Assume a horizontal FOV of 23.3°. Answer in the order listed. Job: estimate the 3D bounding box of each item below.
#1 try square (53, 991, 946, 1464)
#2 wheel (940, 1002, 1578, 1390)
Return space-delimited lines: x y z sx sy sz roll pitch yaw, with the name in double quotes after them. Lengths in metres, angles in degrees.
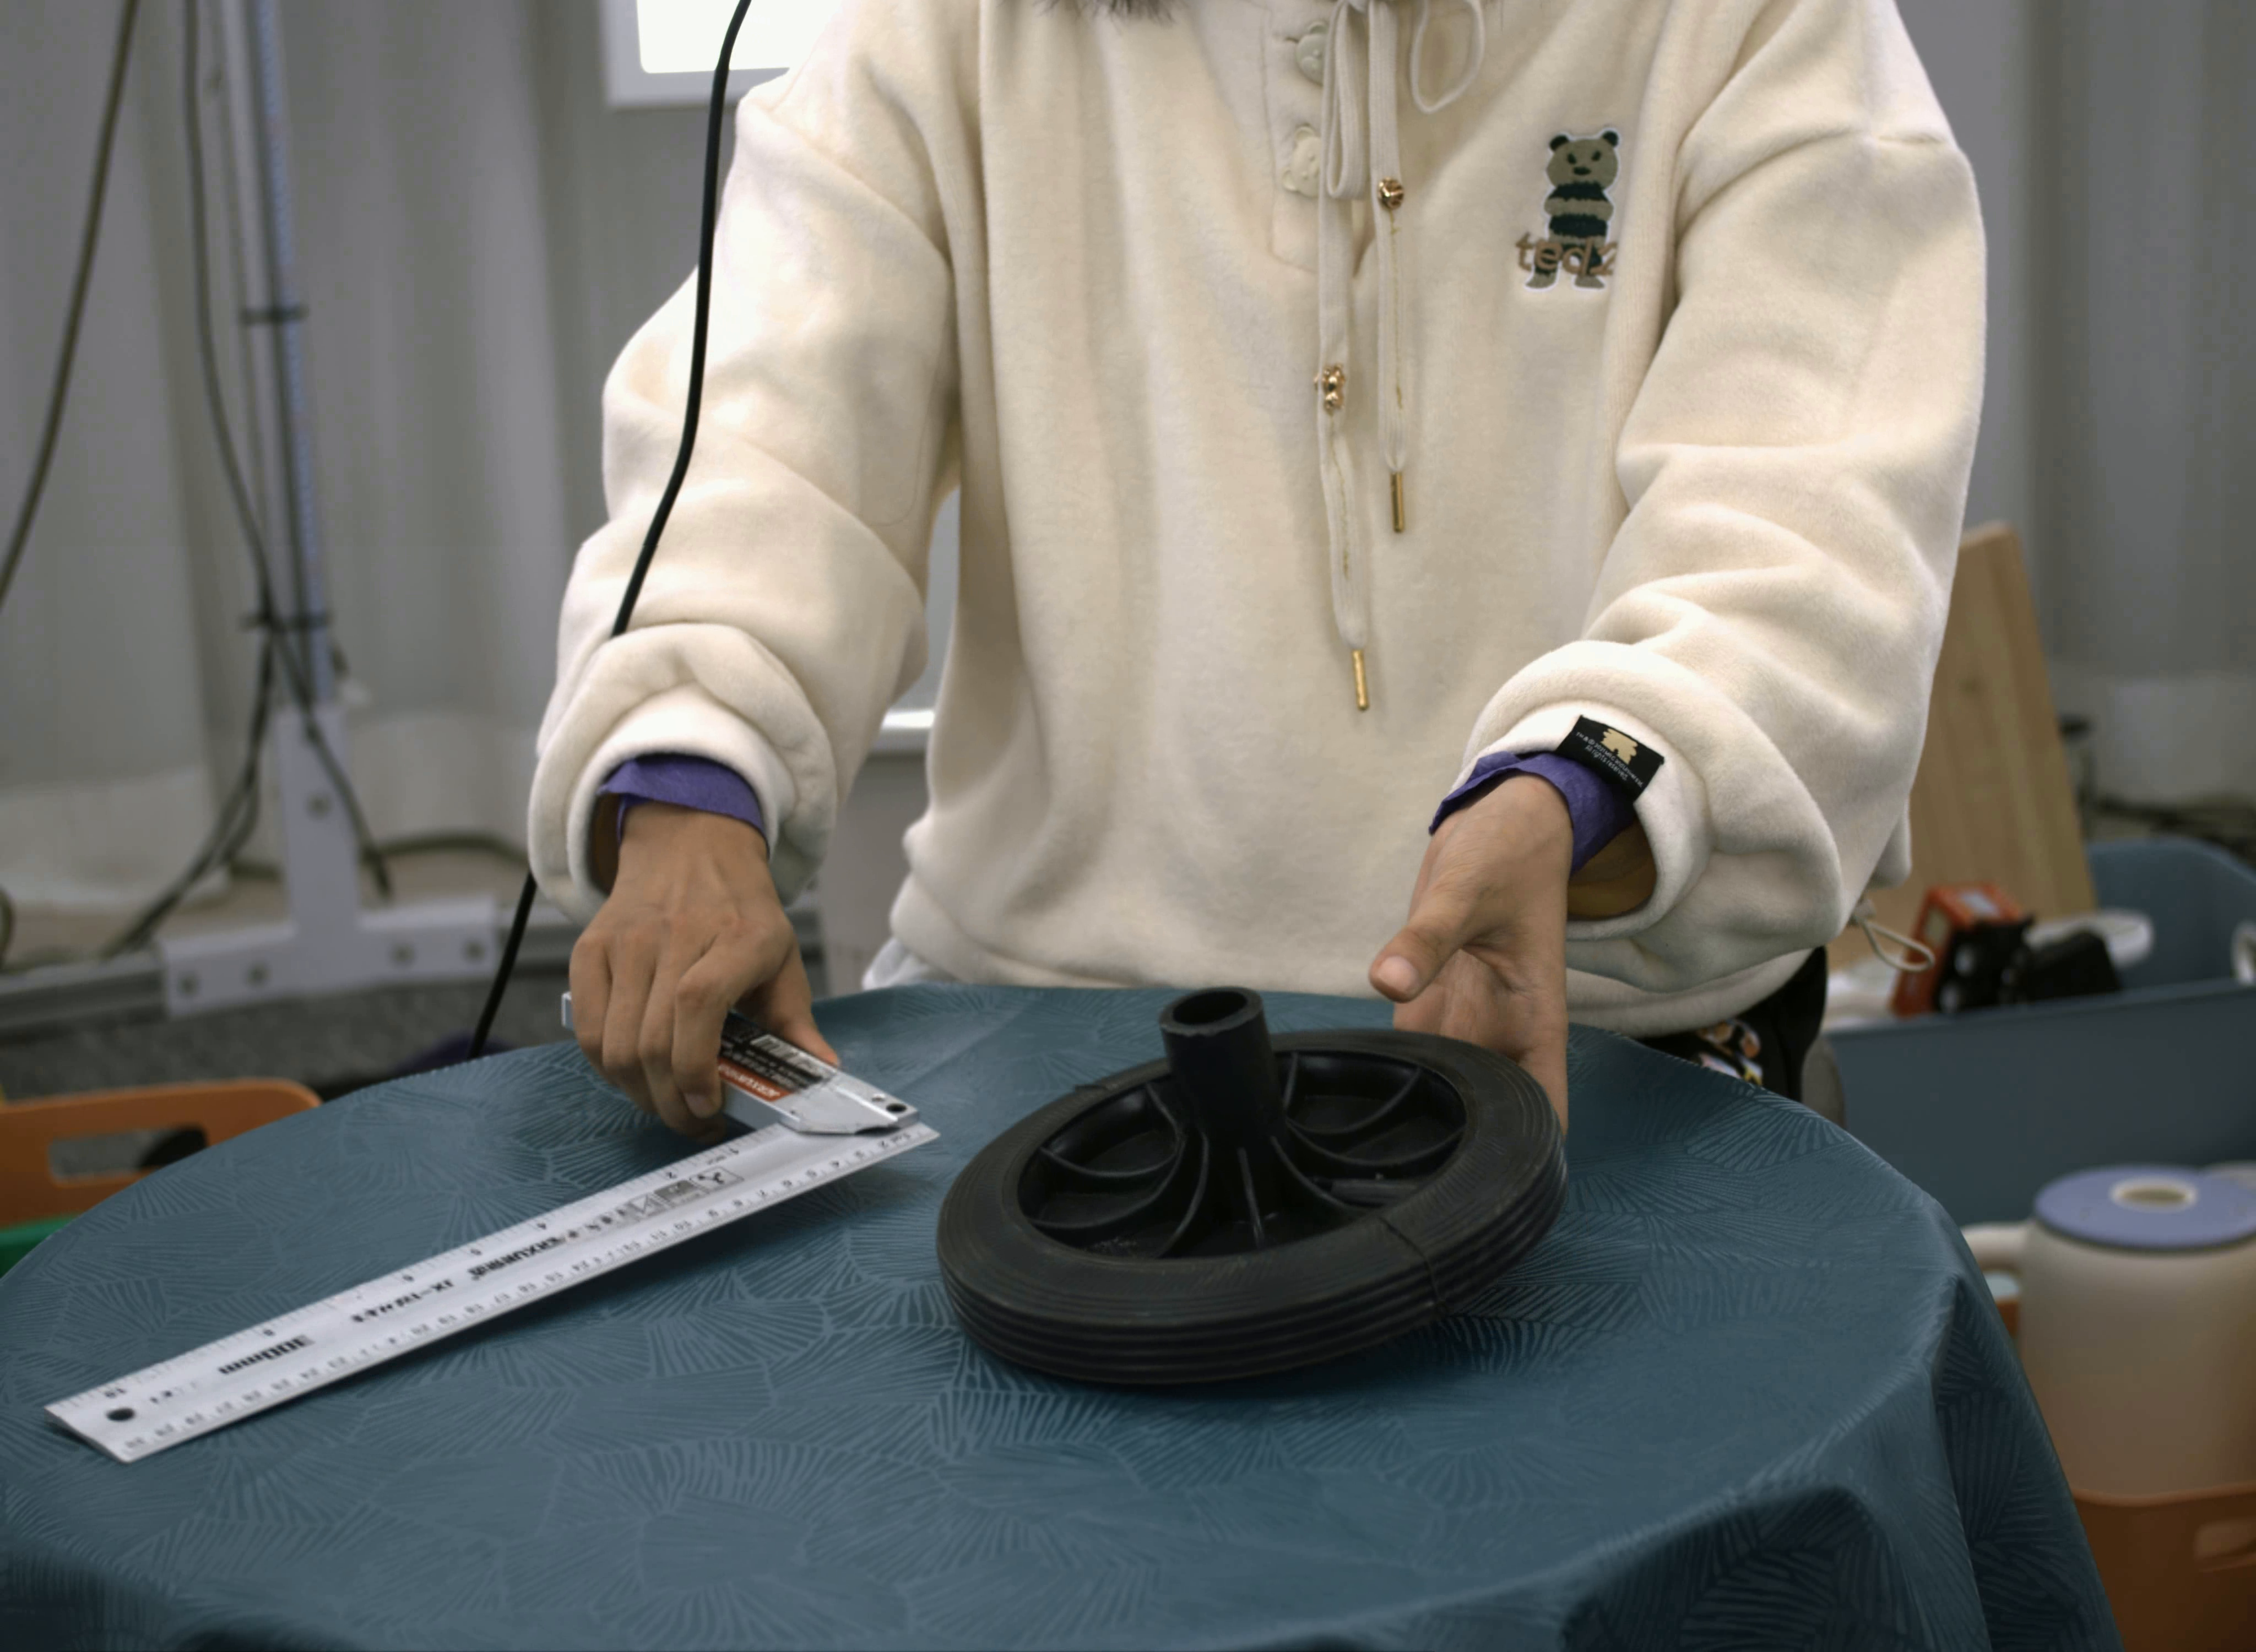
-0.218 0.119 1.677 0.312 0.016 0.153 -20 28 -40 "try square"
0.034 0.094 1.604 0.189 0.078 0.189 -8 21 7 "wheel"
